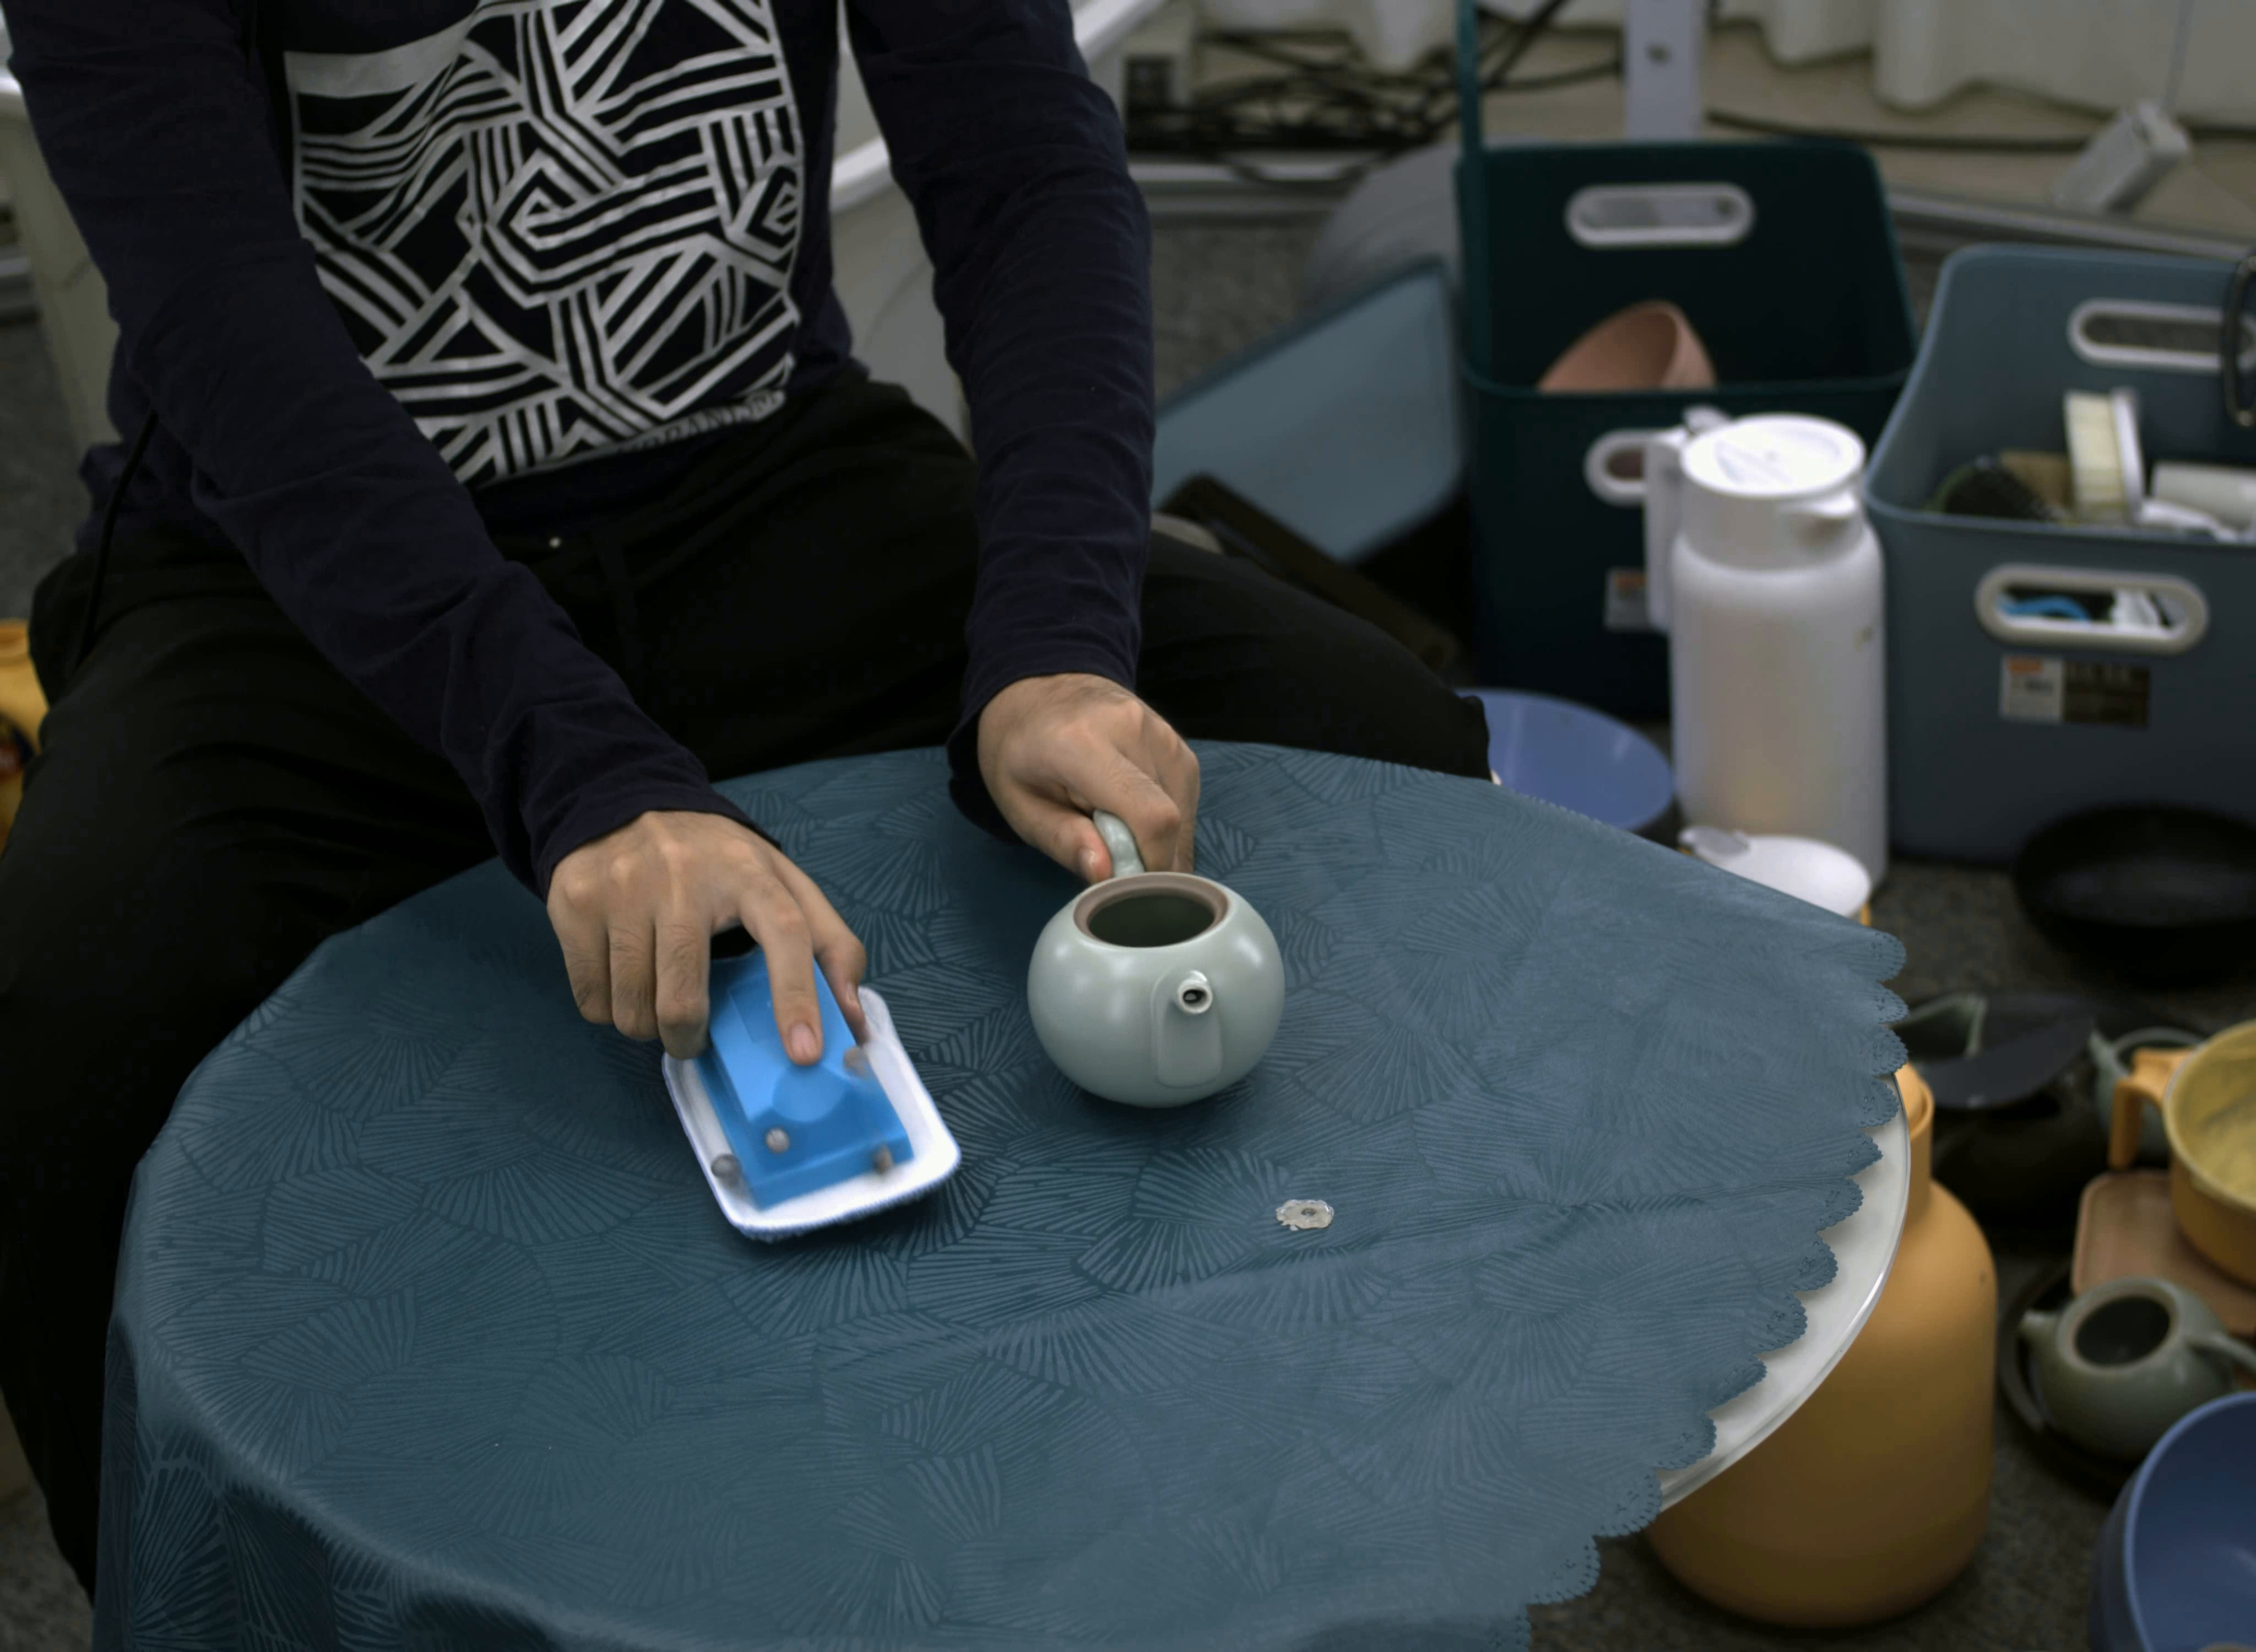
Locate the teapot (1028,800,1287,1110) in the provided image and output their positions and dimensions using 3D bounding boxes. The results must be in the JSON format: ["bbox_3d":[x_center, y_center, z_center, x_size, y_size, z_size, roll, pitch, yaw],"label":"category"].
[{"bbox_3d":[0.010,0.054,1.909,0.088,0.074,0.146,-8,30,-7],"label":"teapot"}]

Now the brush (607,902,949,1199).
[{"bbox_3d":[-0.118,0.071,1.877,0.084,0.055,0.145,-14,32,-20],"label":"brush"}]
